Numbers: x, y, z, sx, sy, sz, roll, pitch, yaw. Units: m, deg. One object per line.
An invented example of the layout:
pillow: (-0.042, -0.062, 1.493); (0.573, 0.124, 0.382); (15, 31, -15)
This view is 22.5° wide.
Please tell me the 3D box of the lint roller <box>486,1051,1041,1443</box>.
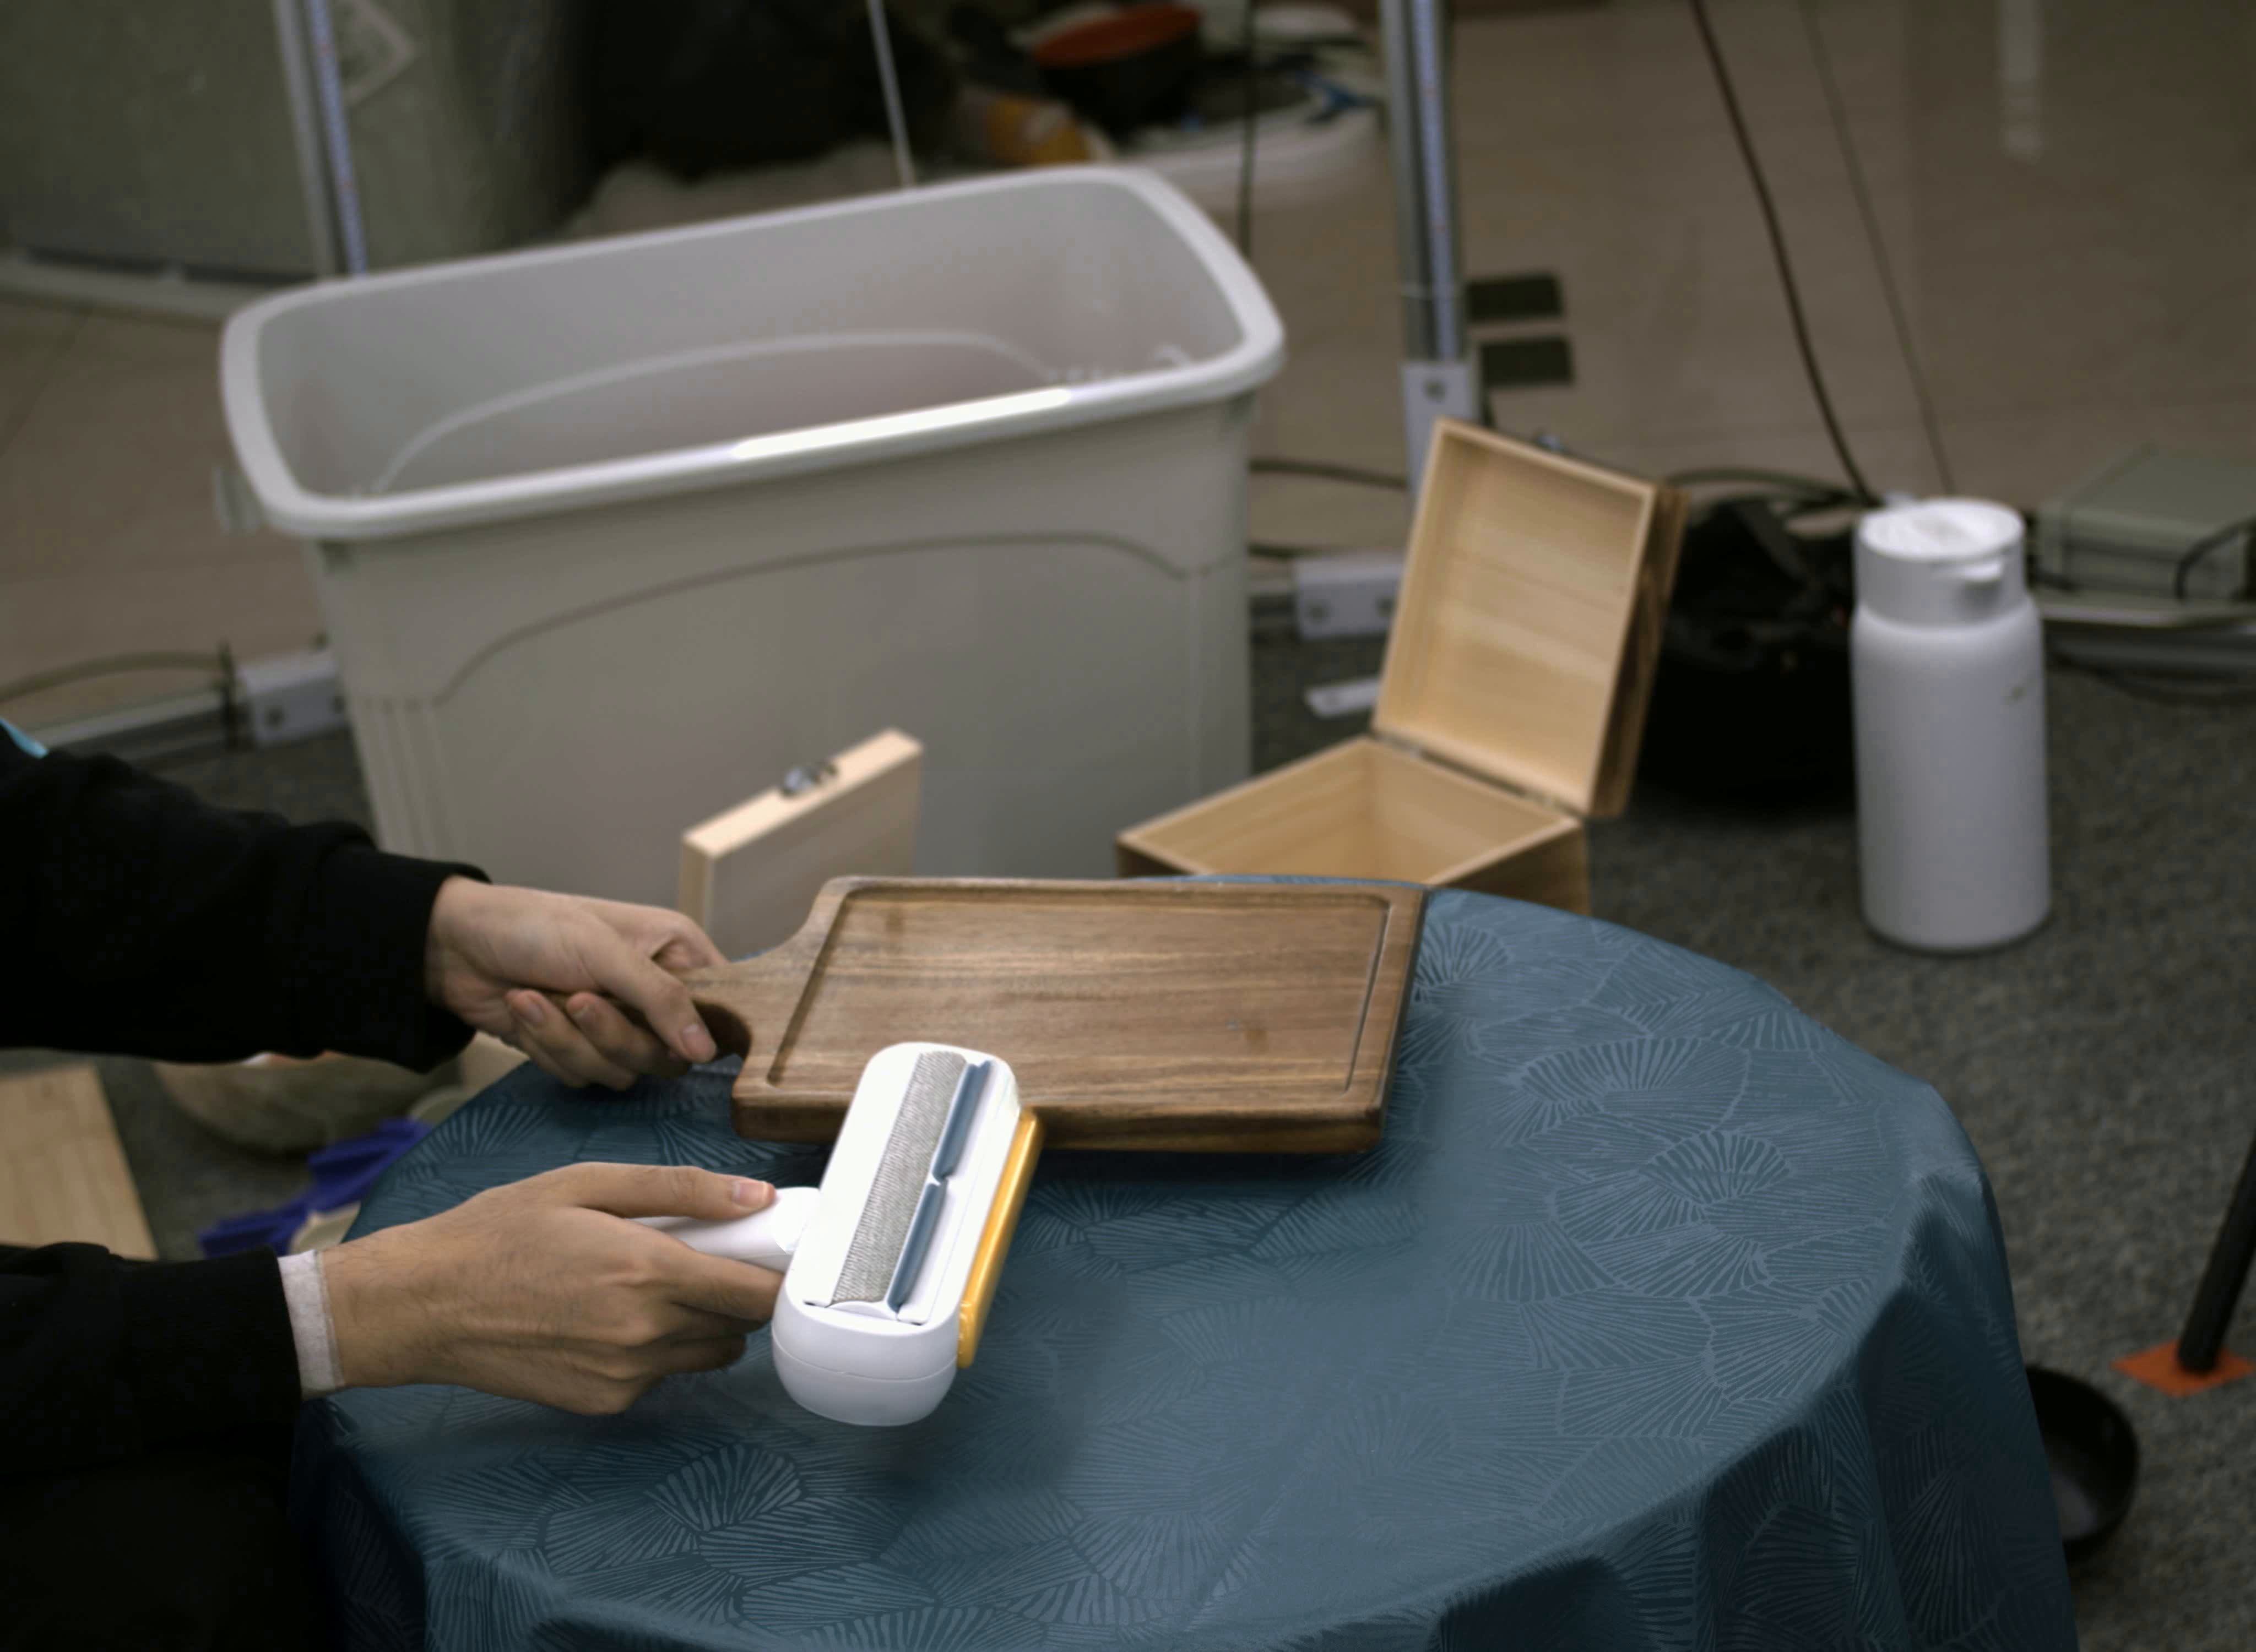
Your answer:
lint roller: (-0.139, 0.148, 2.018); (0.192, 0.075, 0.189); (4, 35, 12)

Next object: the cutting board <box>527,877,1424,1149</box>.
cutting board: (-0.064, 0.071, 2.229); (0.351, 0.023, 0.198); (0, 26, 9)
